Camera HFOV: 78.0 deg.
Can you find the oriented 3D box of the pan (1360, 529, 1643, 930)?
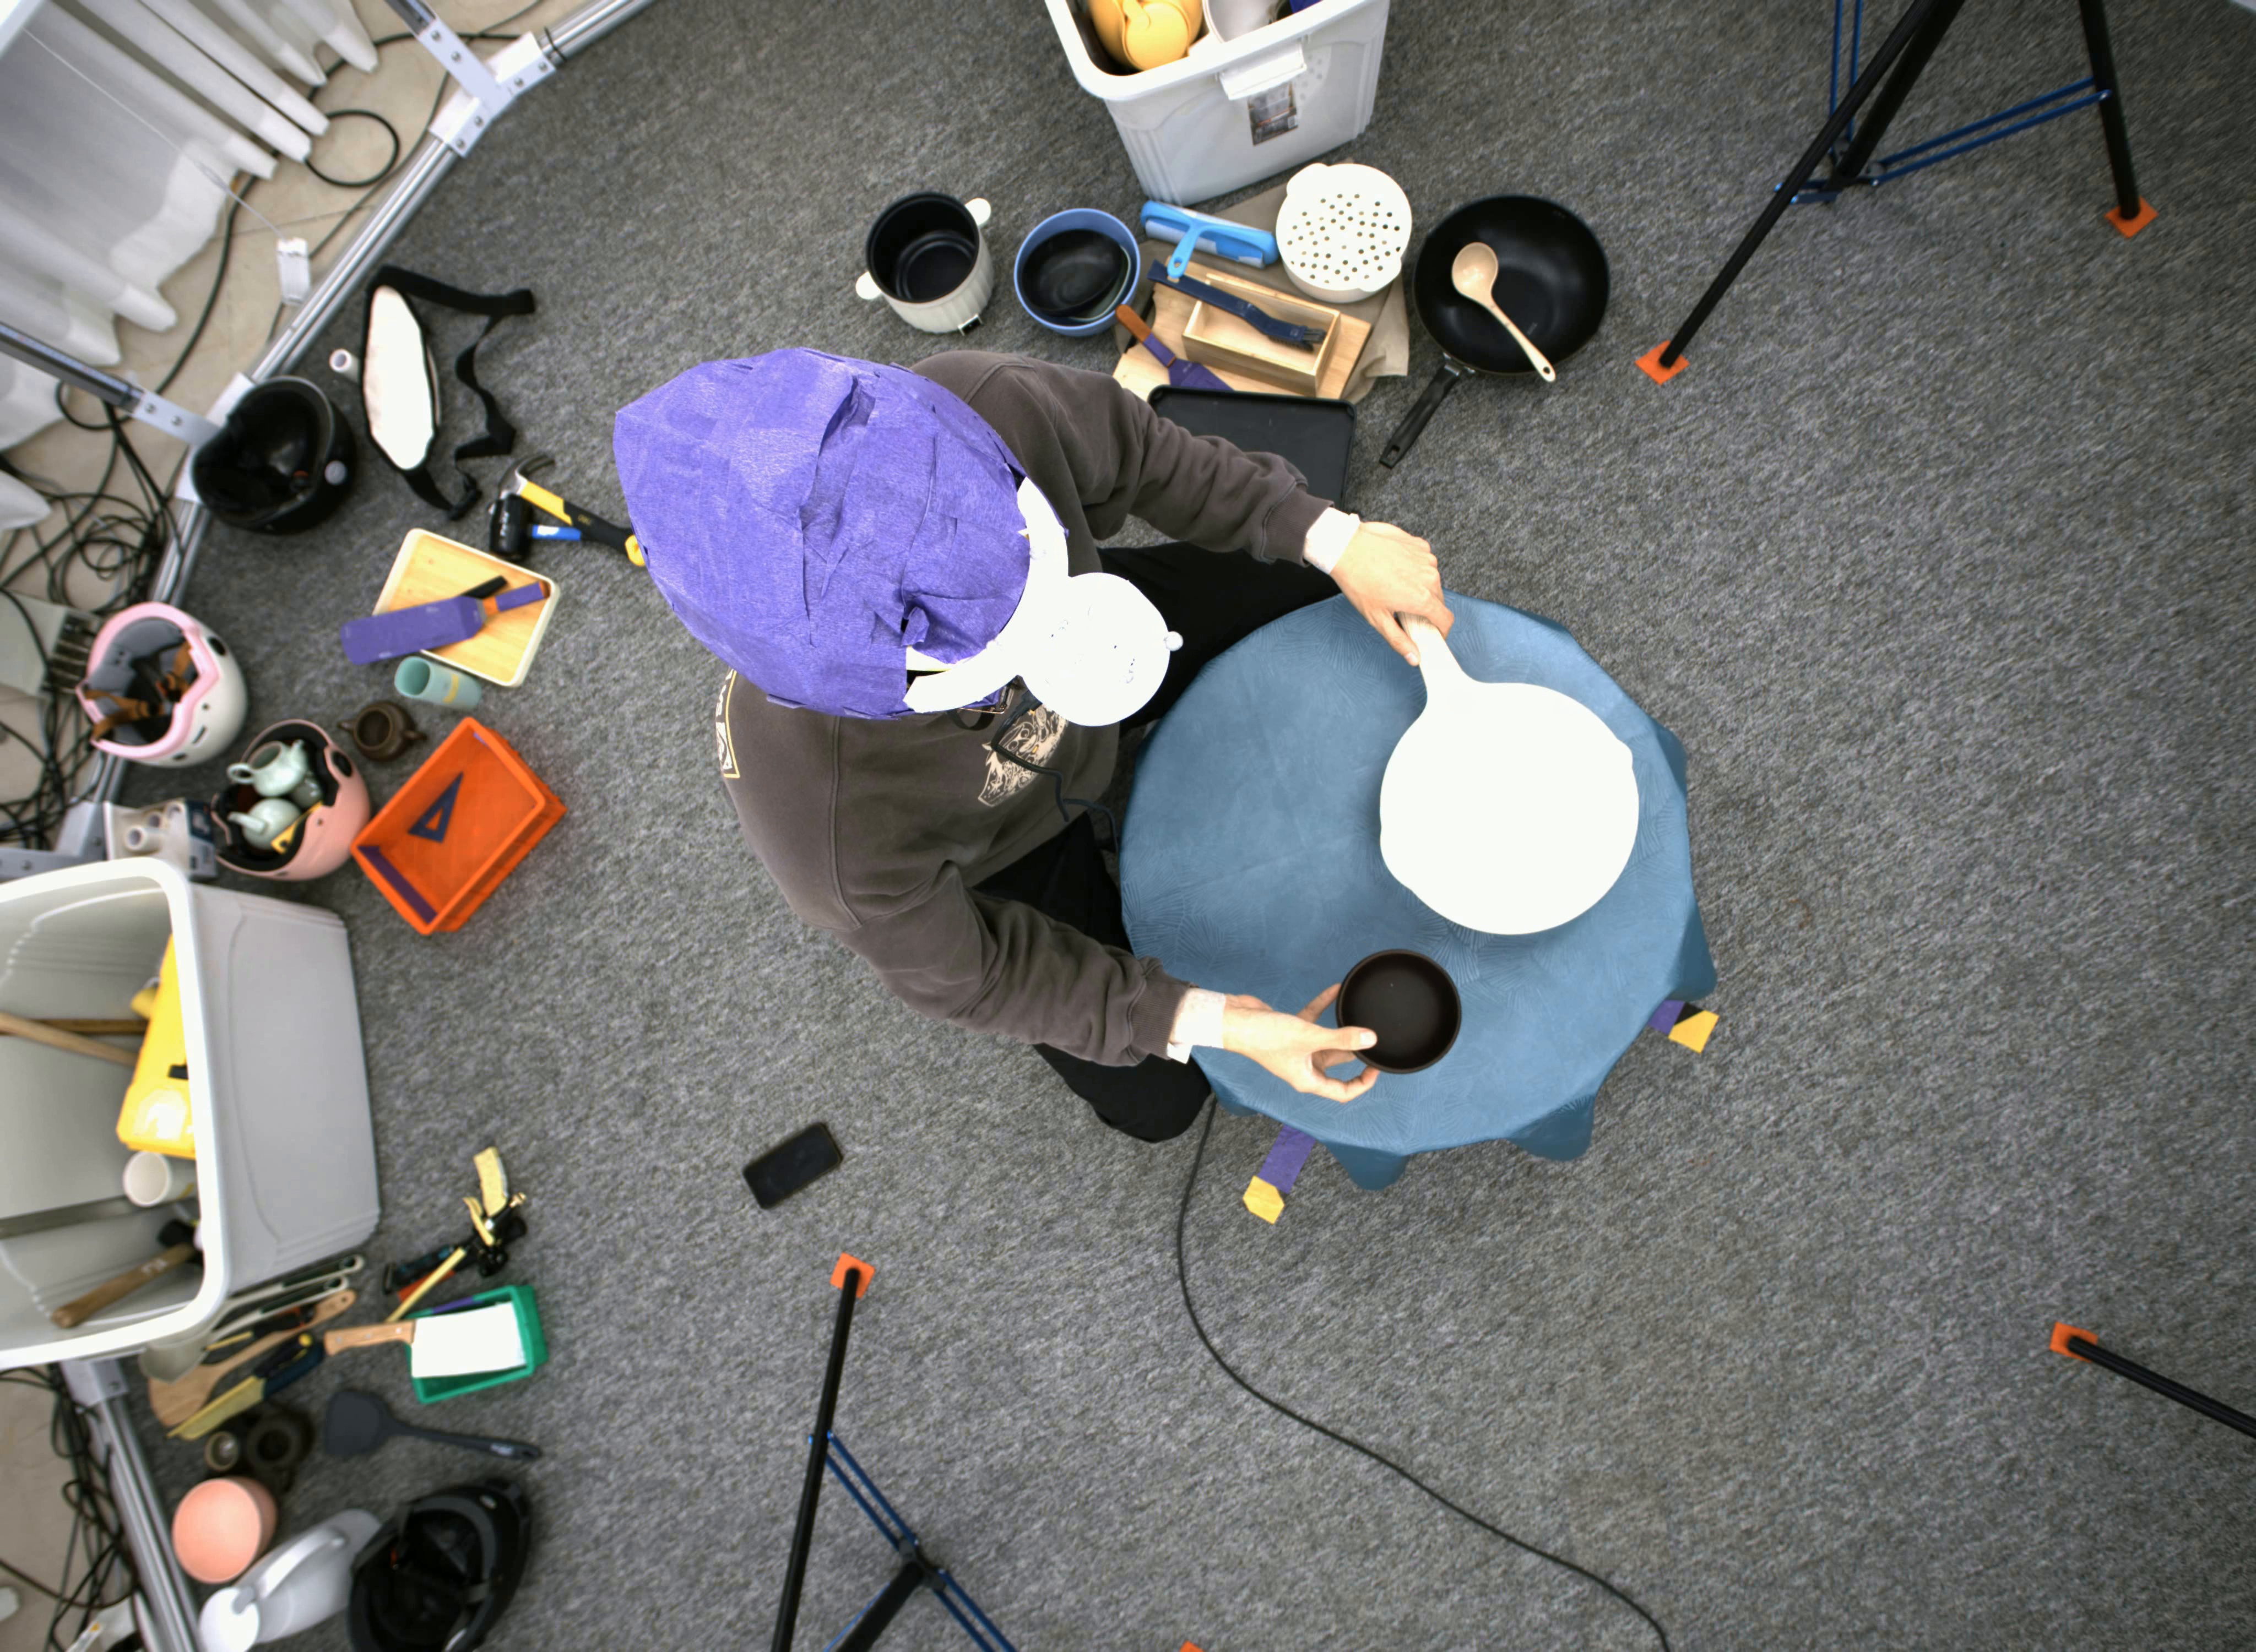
[{"bbox_3d":[0.348,-0.104,1.402,0.265,0.102,0.432,-26,82,10],"label":"pan"}]

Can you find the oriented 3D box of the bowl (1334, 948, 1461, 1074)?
[{"bbox_3d":[0.255,0.175,1.319,0.118,0.070,0.117,-1,84,8],"label":"bowl"}]
